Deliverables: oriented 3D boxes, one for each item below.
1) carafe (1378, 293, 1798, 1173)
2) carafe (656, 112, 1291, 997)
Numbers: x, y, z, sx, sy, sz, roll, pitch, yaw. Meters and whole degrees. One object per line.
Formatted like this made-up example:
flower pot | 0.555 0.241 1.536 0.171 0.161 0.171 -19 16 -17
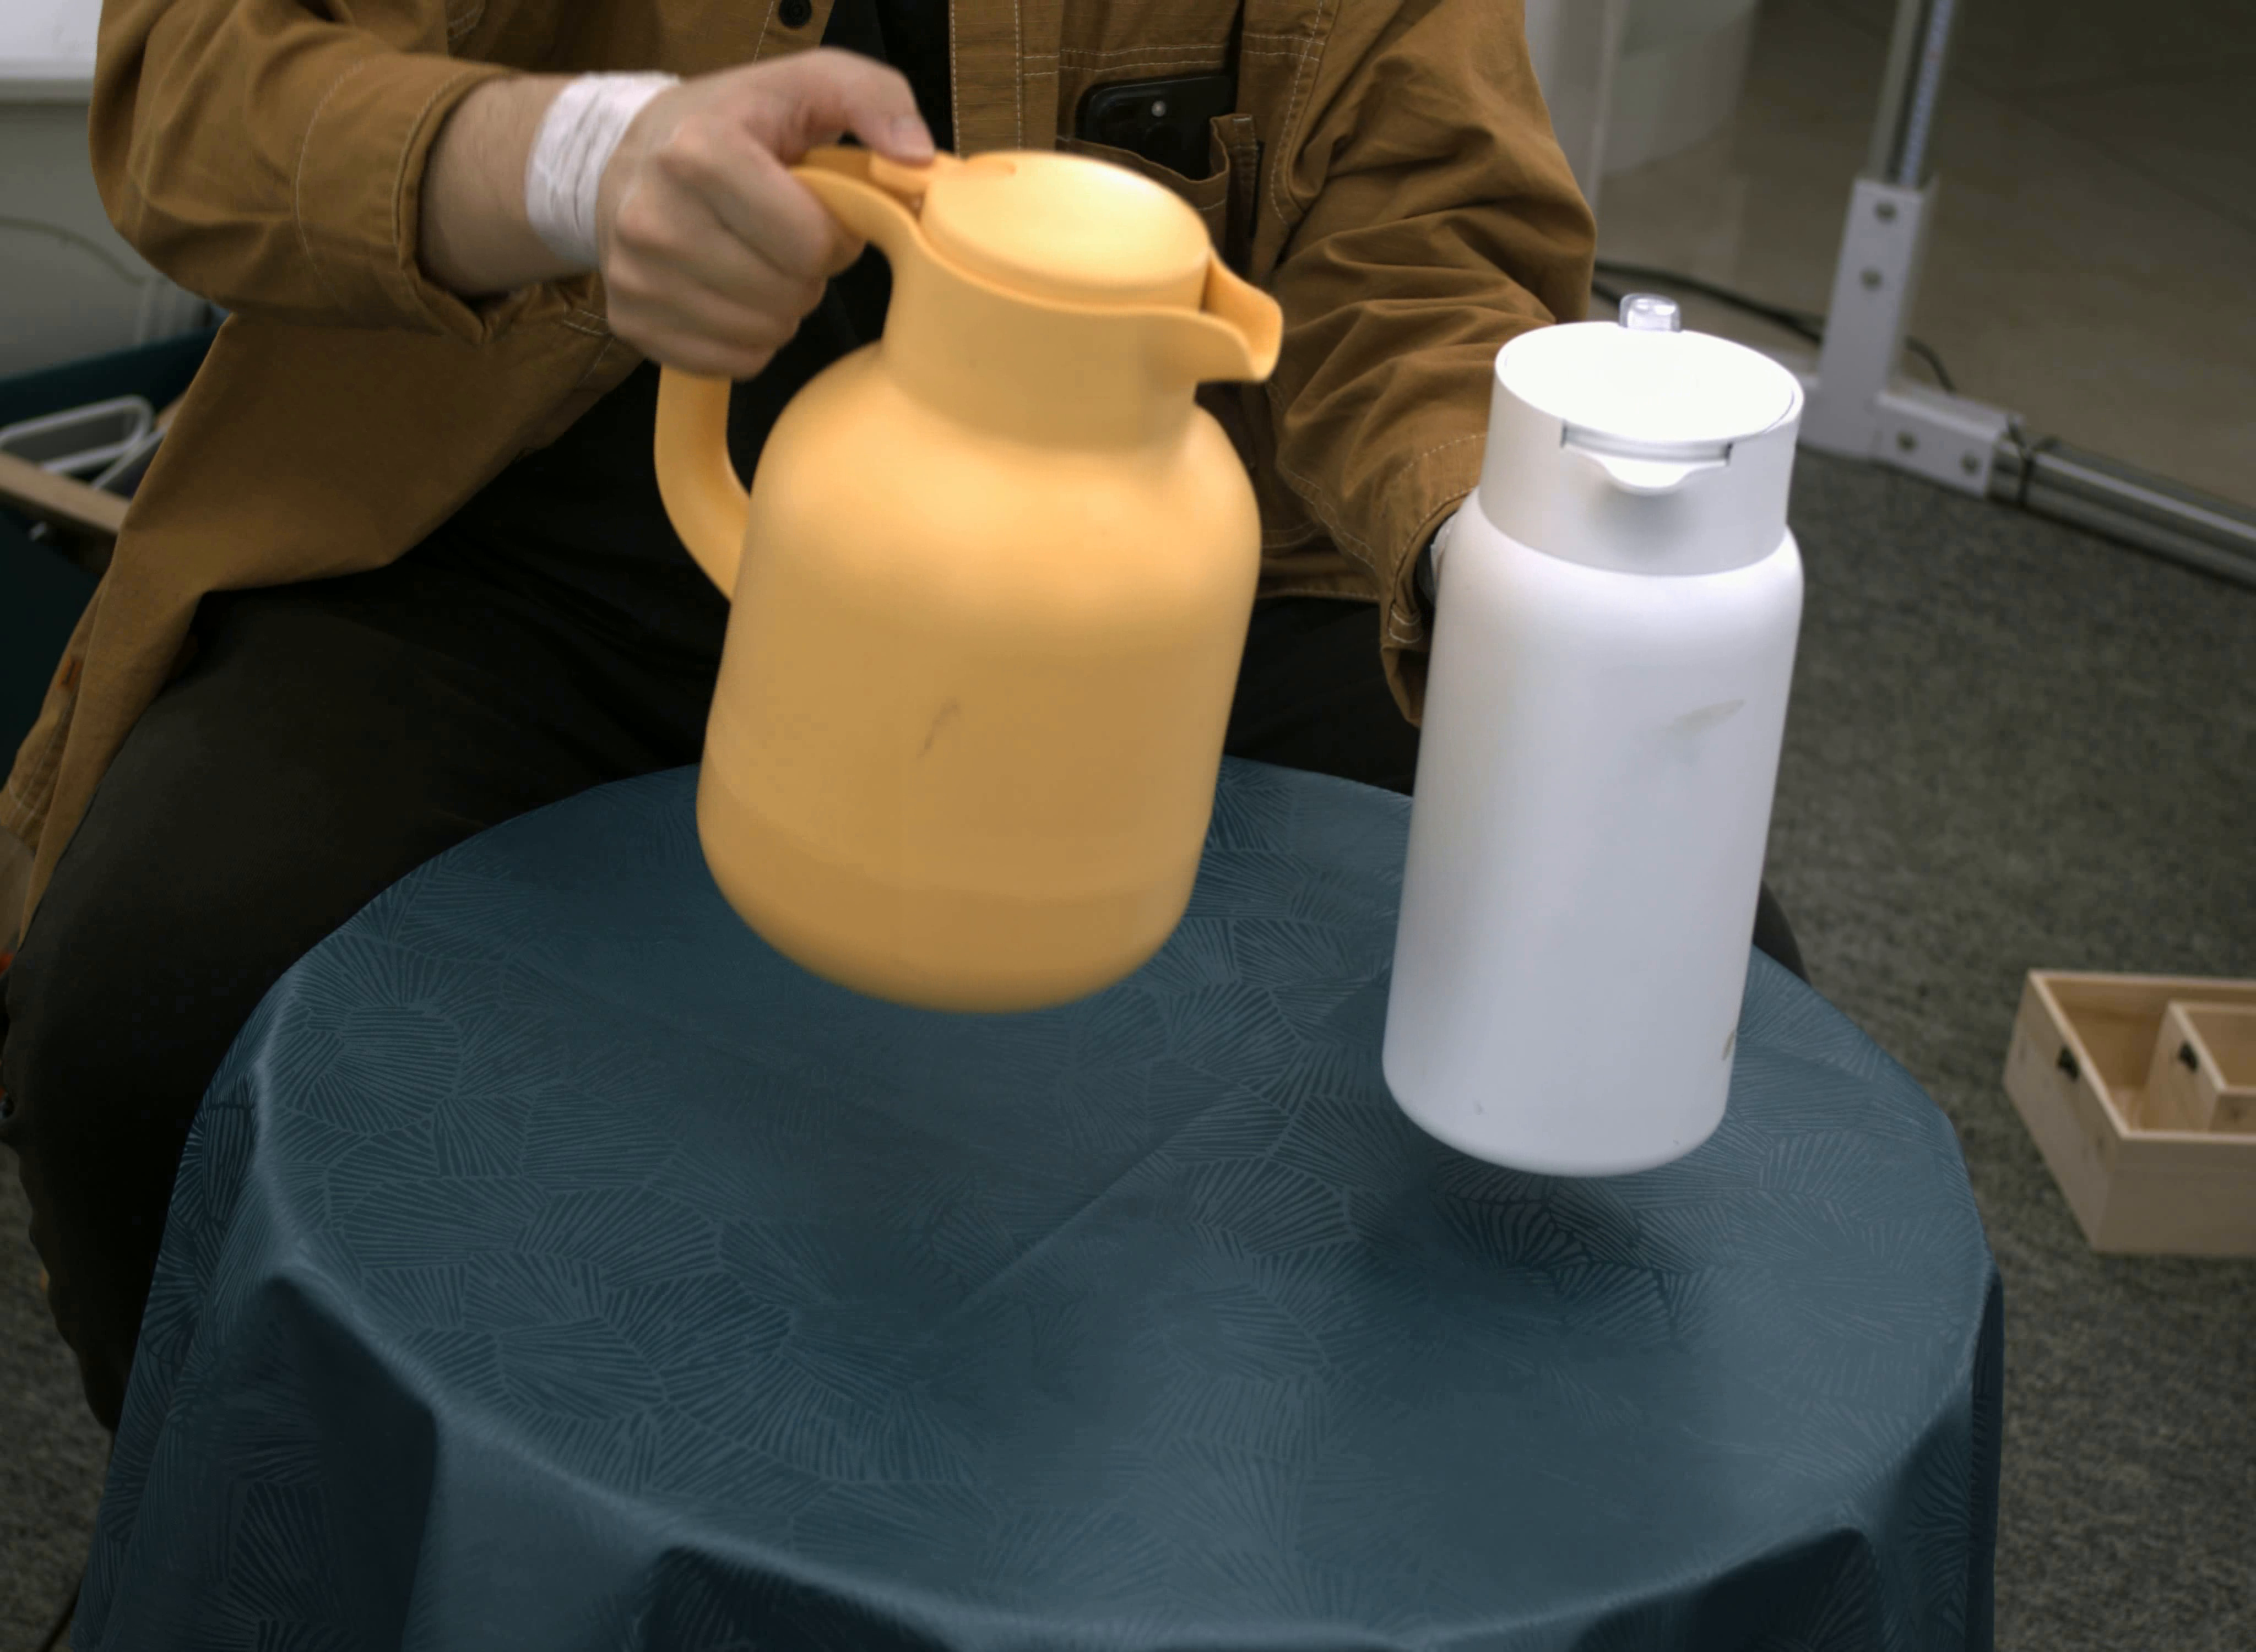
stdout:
carafe | 0.152 -0.034 1.755 0.123 0.268 0.173 4 26 3
carafe | -0.059 -0.095 1.669 0.203 0.260 0.163 26 28 19
